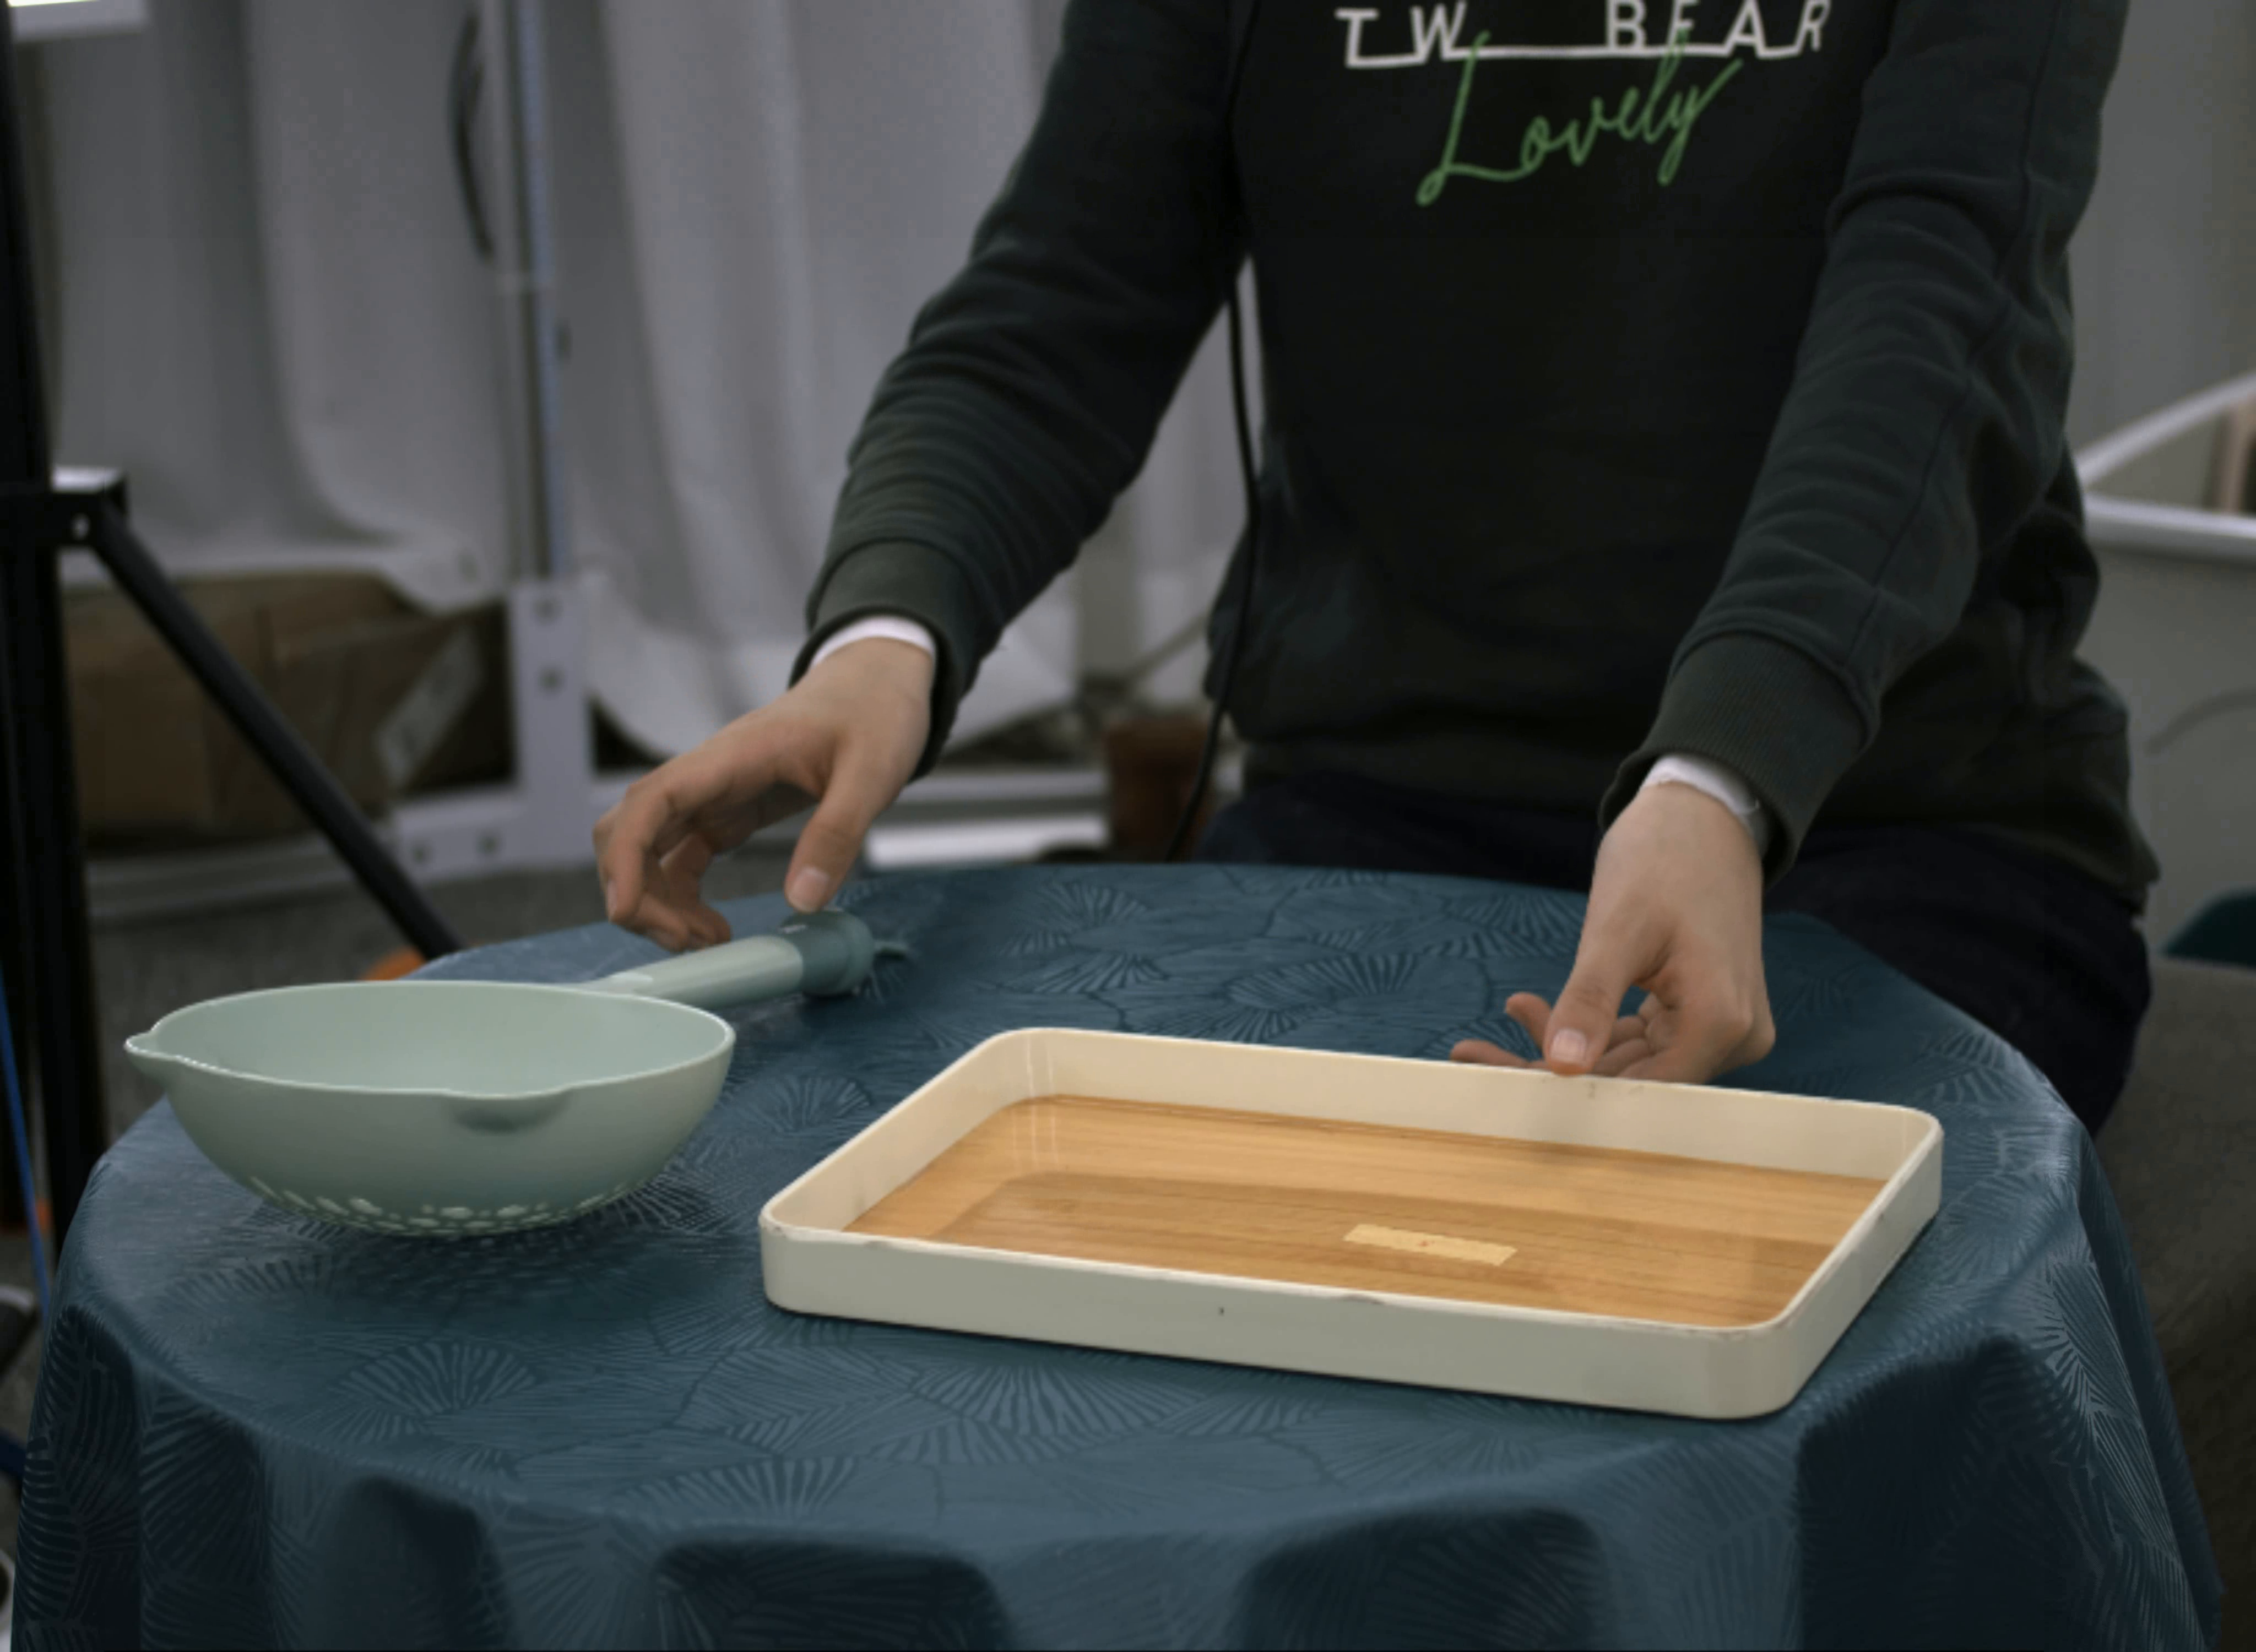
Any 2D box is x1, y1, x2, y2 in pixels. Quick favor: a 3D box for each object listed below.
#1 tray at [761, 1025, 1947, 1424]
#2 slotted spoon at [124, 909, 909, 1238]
[{"bbox_3d":[0.066,0.109,1.496,0.304,0.027,0.189,5,17,24],"label":"tray"},{"bbox_3d":[-0.157,0.060,1.636,0.172,0.075,0.353,6,18,25],"label":"slotted spoon"}]
